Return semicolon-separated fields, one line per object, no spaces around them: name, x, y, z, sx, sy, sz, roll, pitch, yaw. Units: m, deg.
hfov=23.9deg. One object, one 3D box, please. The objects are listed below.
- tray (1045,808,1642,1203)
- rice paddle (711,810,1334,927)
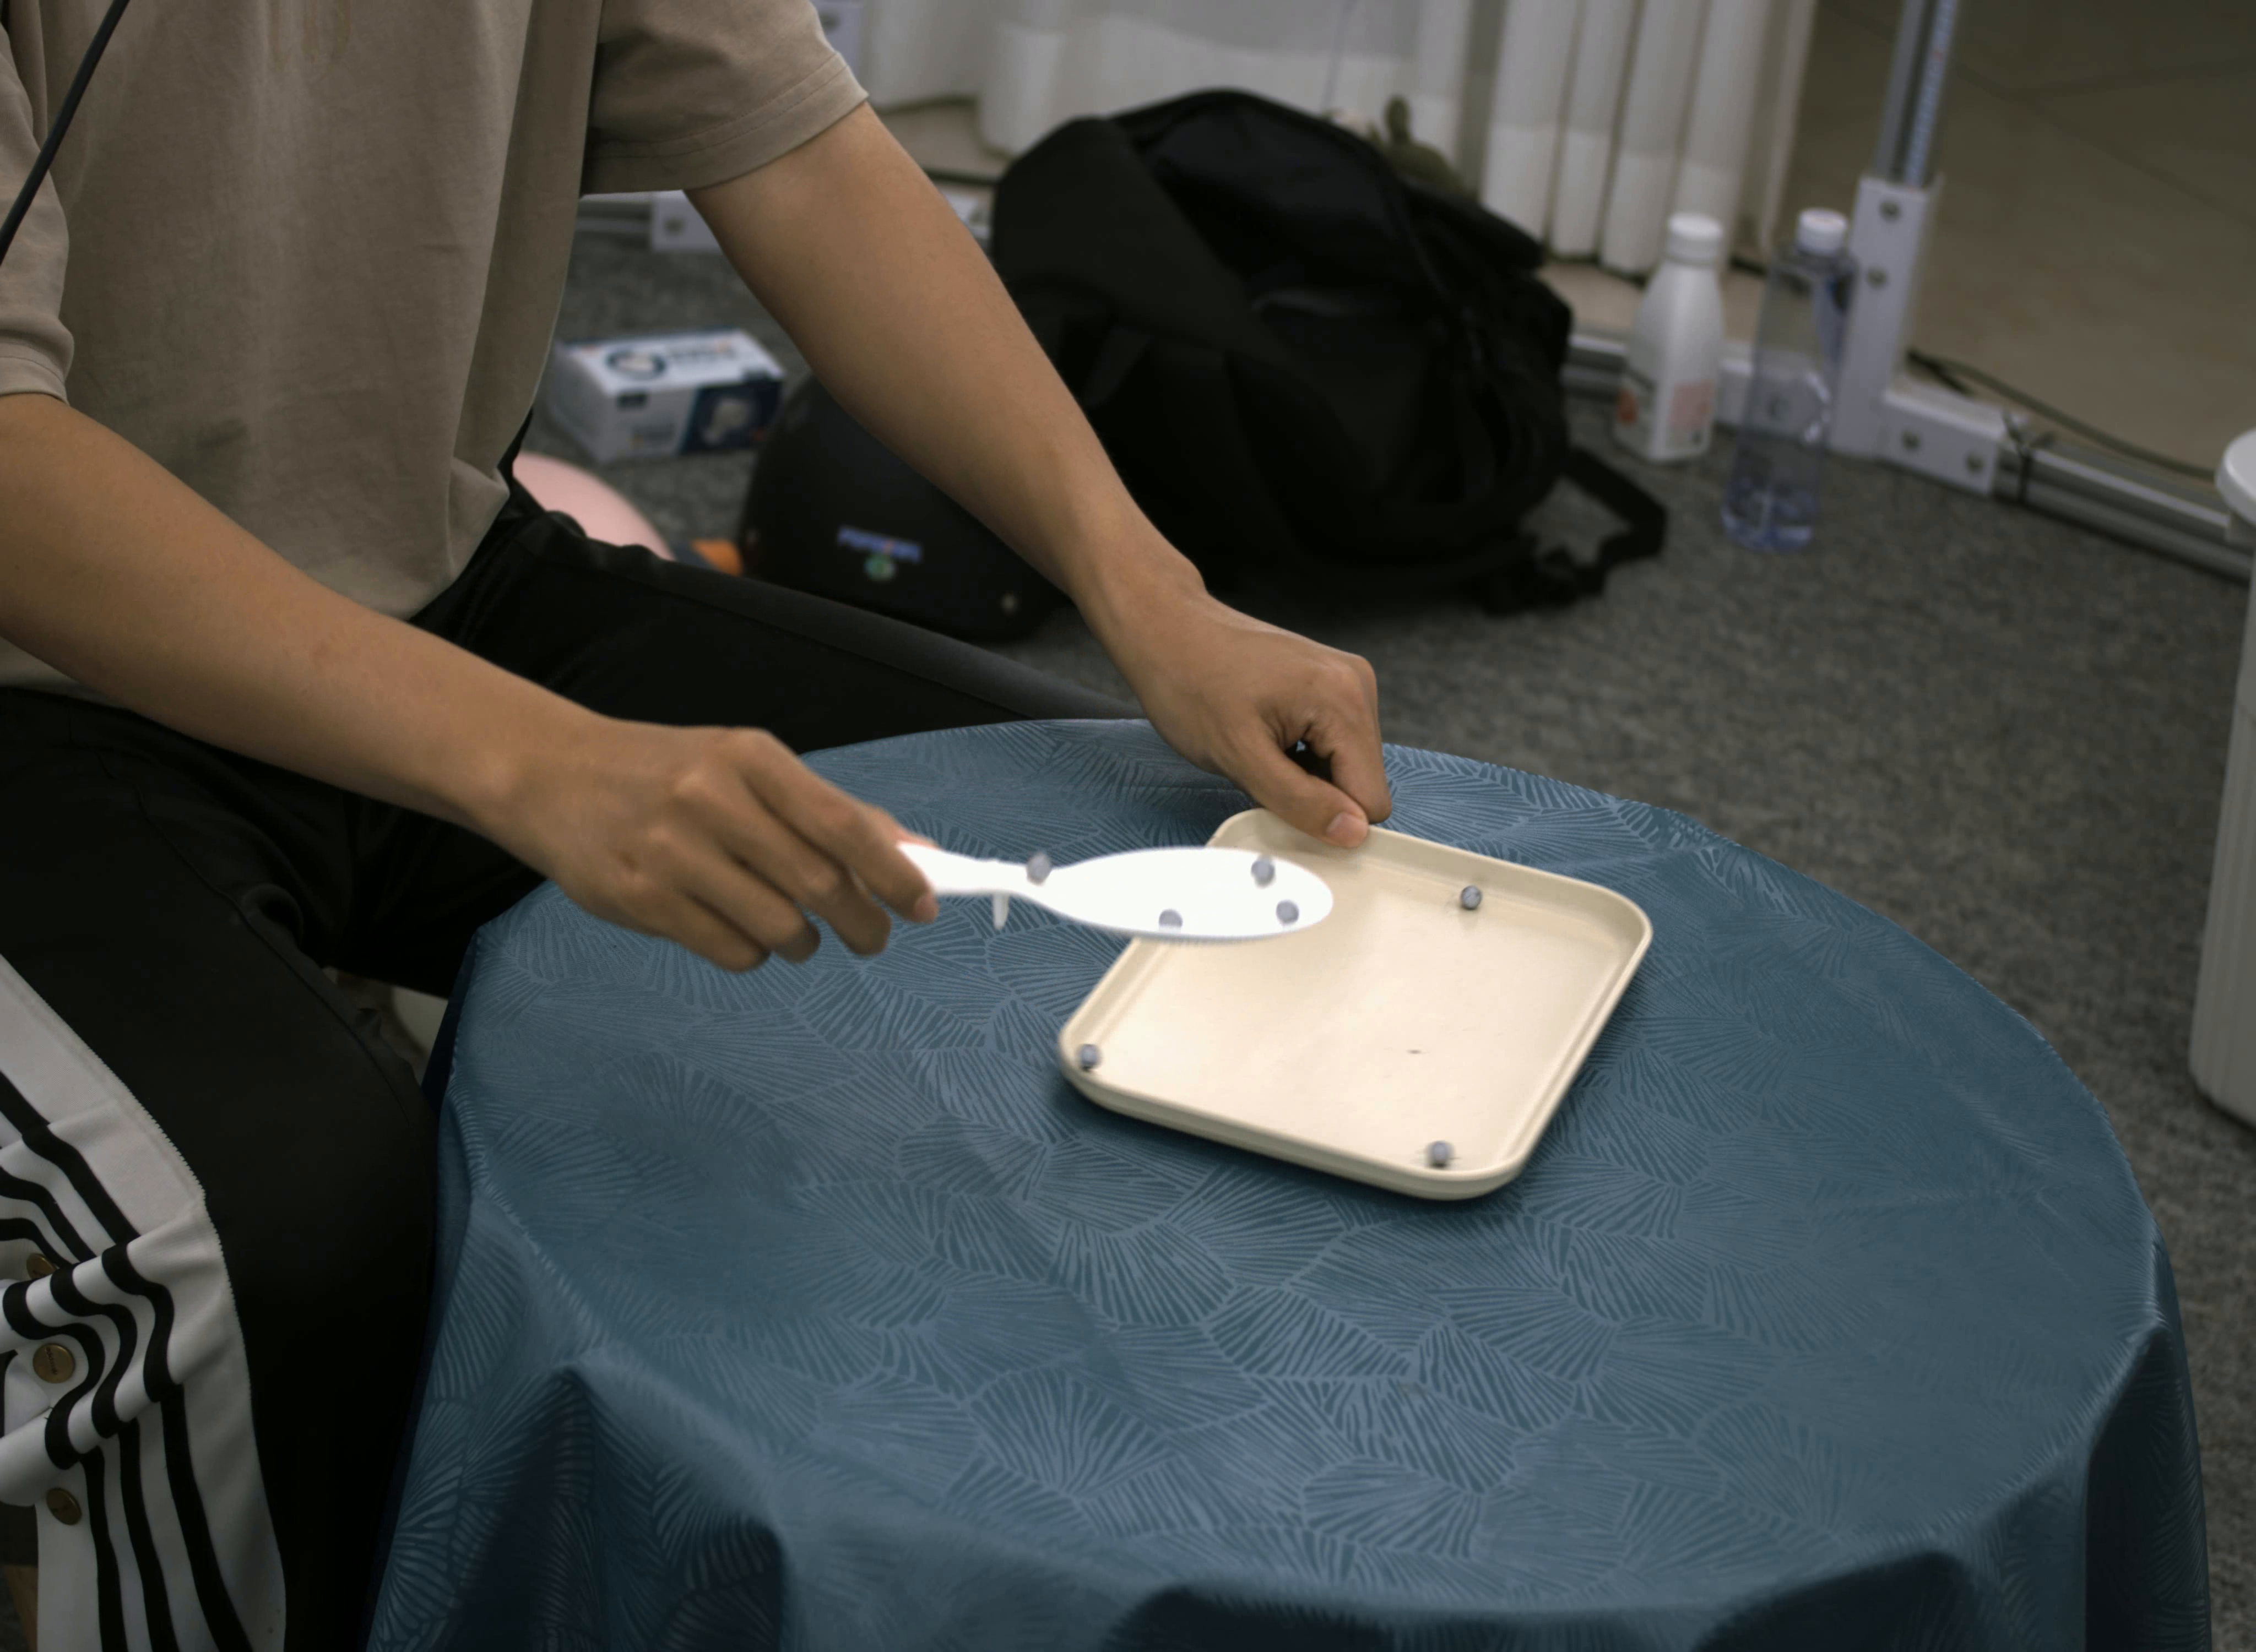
tray;0.080;0.063;1.922;0.171;0.017;0.240;16;28;15
rice paddle;-0.034;0.013;1.744;0.205;0.029;0.069;2;24;8
